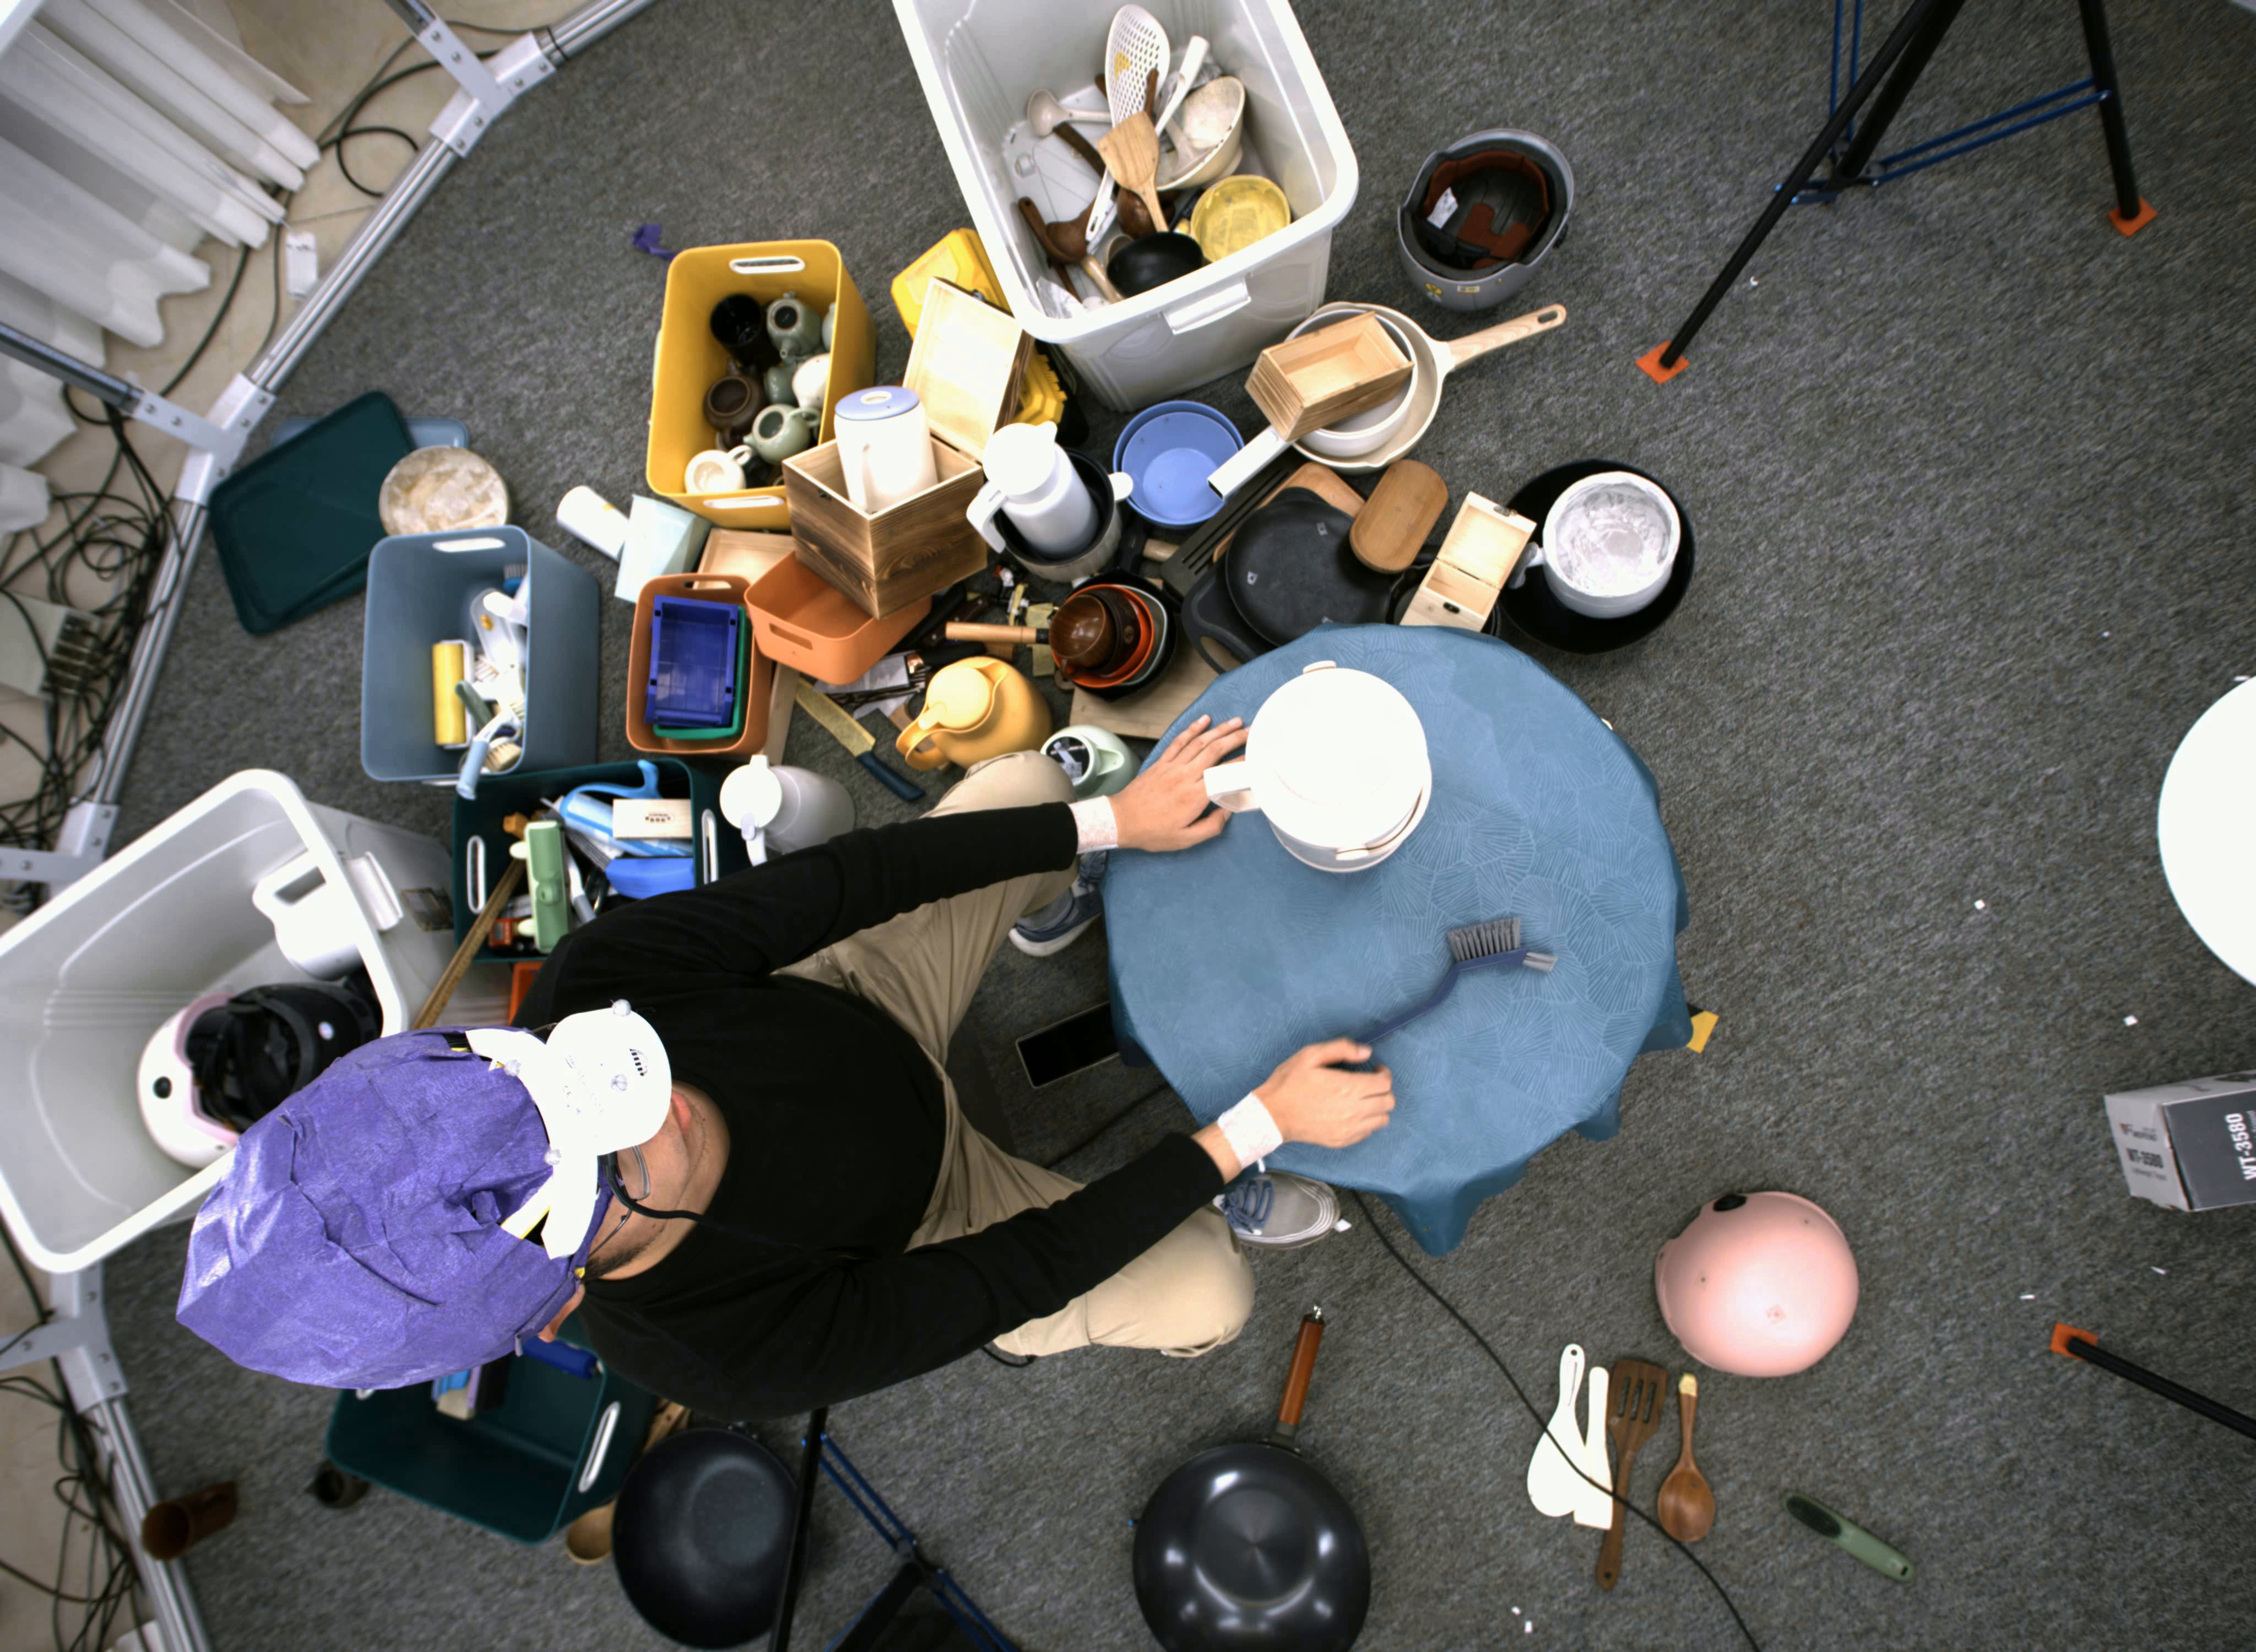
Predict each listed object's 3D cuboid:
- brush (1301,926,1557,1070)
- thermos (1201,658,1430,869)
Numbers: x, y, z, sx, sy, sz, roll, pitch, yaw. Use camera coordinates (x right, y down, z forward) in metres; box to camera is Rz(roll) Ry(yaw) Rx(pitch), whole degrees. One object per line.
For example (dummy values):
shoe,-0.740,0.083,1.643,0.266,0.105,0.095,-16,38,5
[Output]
brush,0.307,0.193,1.429,0.274,0.033,0.095,-37,80,4
thermos,0.179,-0.051,1.283,0.208,0.406,0.174,-11,84,8
